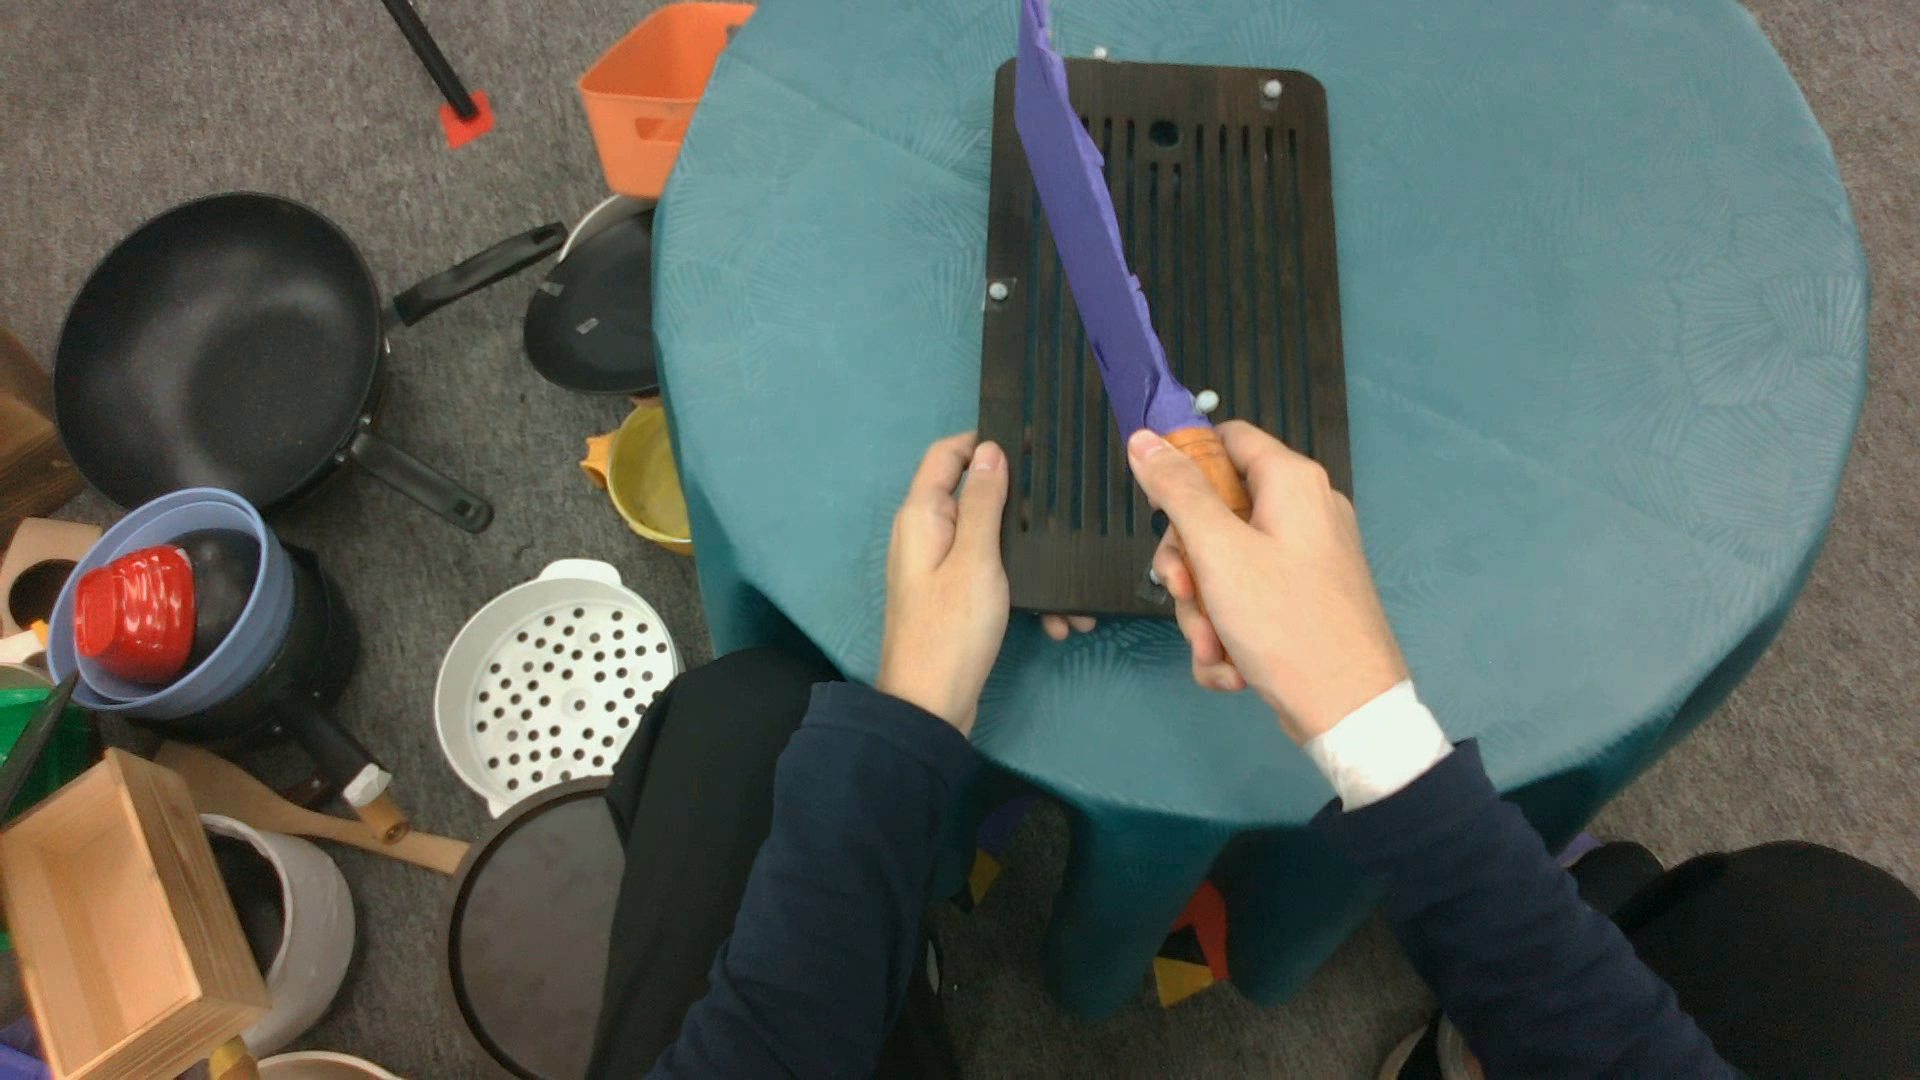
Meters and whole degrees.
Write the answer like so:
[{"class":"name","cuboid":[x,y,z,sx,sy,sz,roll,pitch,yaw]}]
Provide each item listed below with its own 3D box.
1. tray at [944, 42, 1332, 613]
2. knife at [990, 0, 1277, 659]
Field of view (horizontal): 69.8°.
[{"class":"tray","cuboid":[0.081,-0.111,0.657,0.170,0.018,0.307,3,67,-2]},{"class":"knife","cuboid":[0.062,-0.093,0.576,0.032,0.103,0.316,-13,70,-4]}]
